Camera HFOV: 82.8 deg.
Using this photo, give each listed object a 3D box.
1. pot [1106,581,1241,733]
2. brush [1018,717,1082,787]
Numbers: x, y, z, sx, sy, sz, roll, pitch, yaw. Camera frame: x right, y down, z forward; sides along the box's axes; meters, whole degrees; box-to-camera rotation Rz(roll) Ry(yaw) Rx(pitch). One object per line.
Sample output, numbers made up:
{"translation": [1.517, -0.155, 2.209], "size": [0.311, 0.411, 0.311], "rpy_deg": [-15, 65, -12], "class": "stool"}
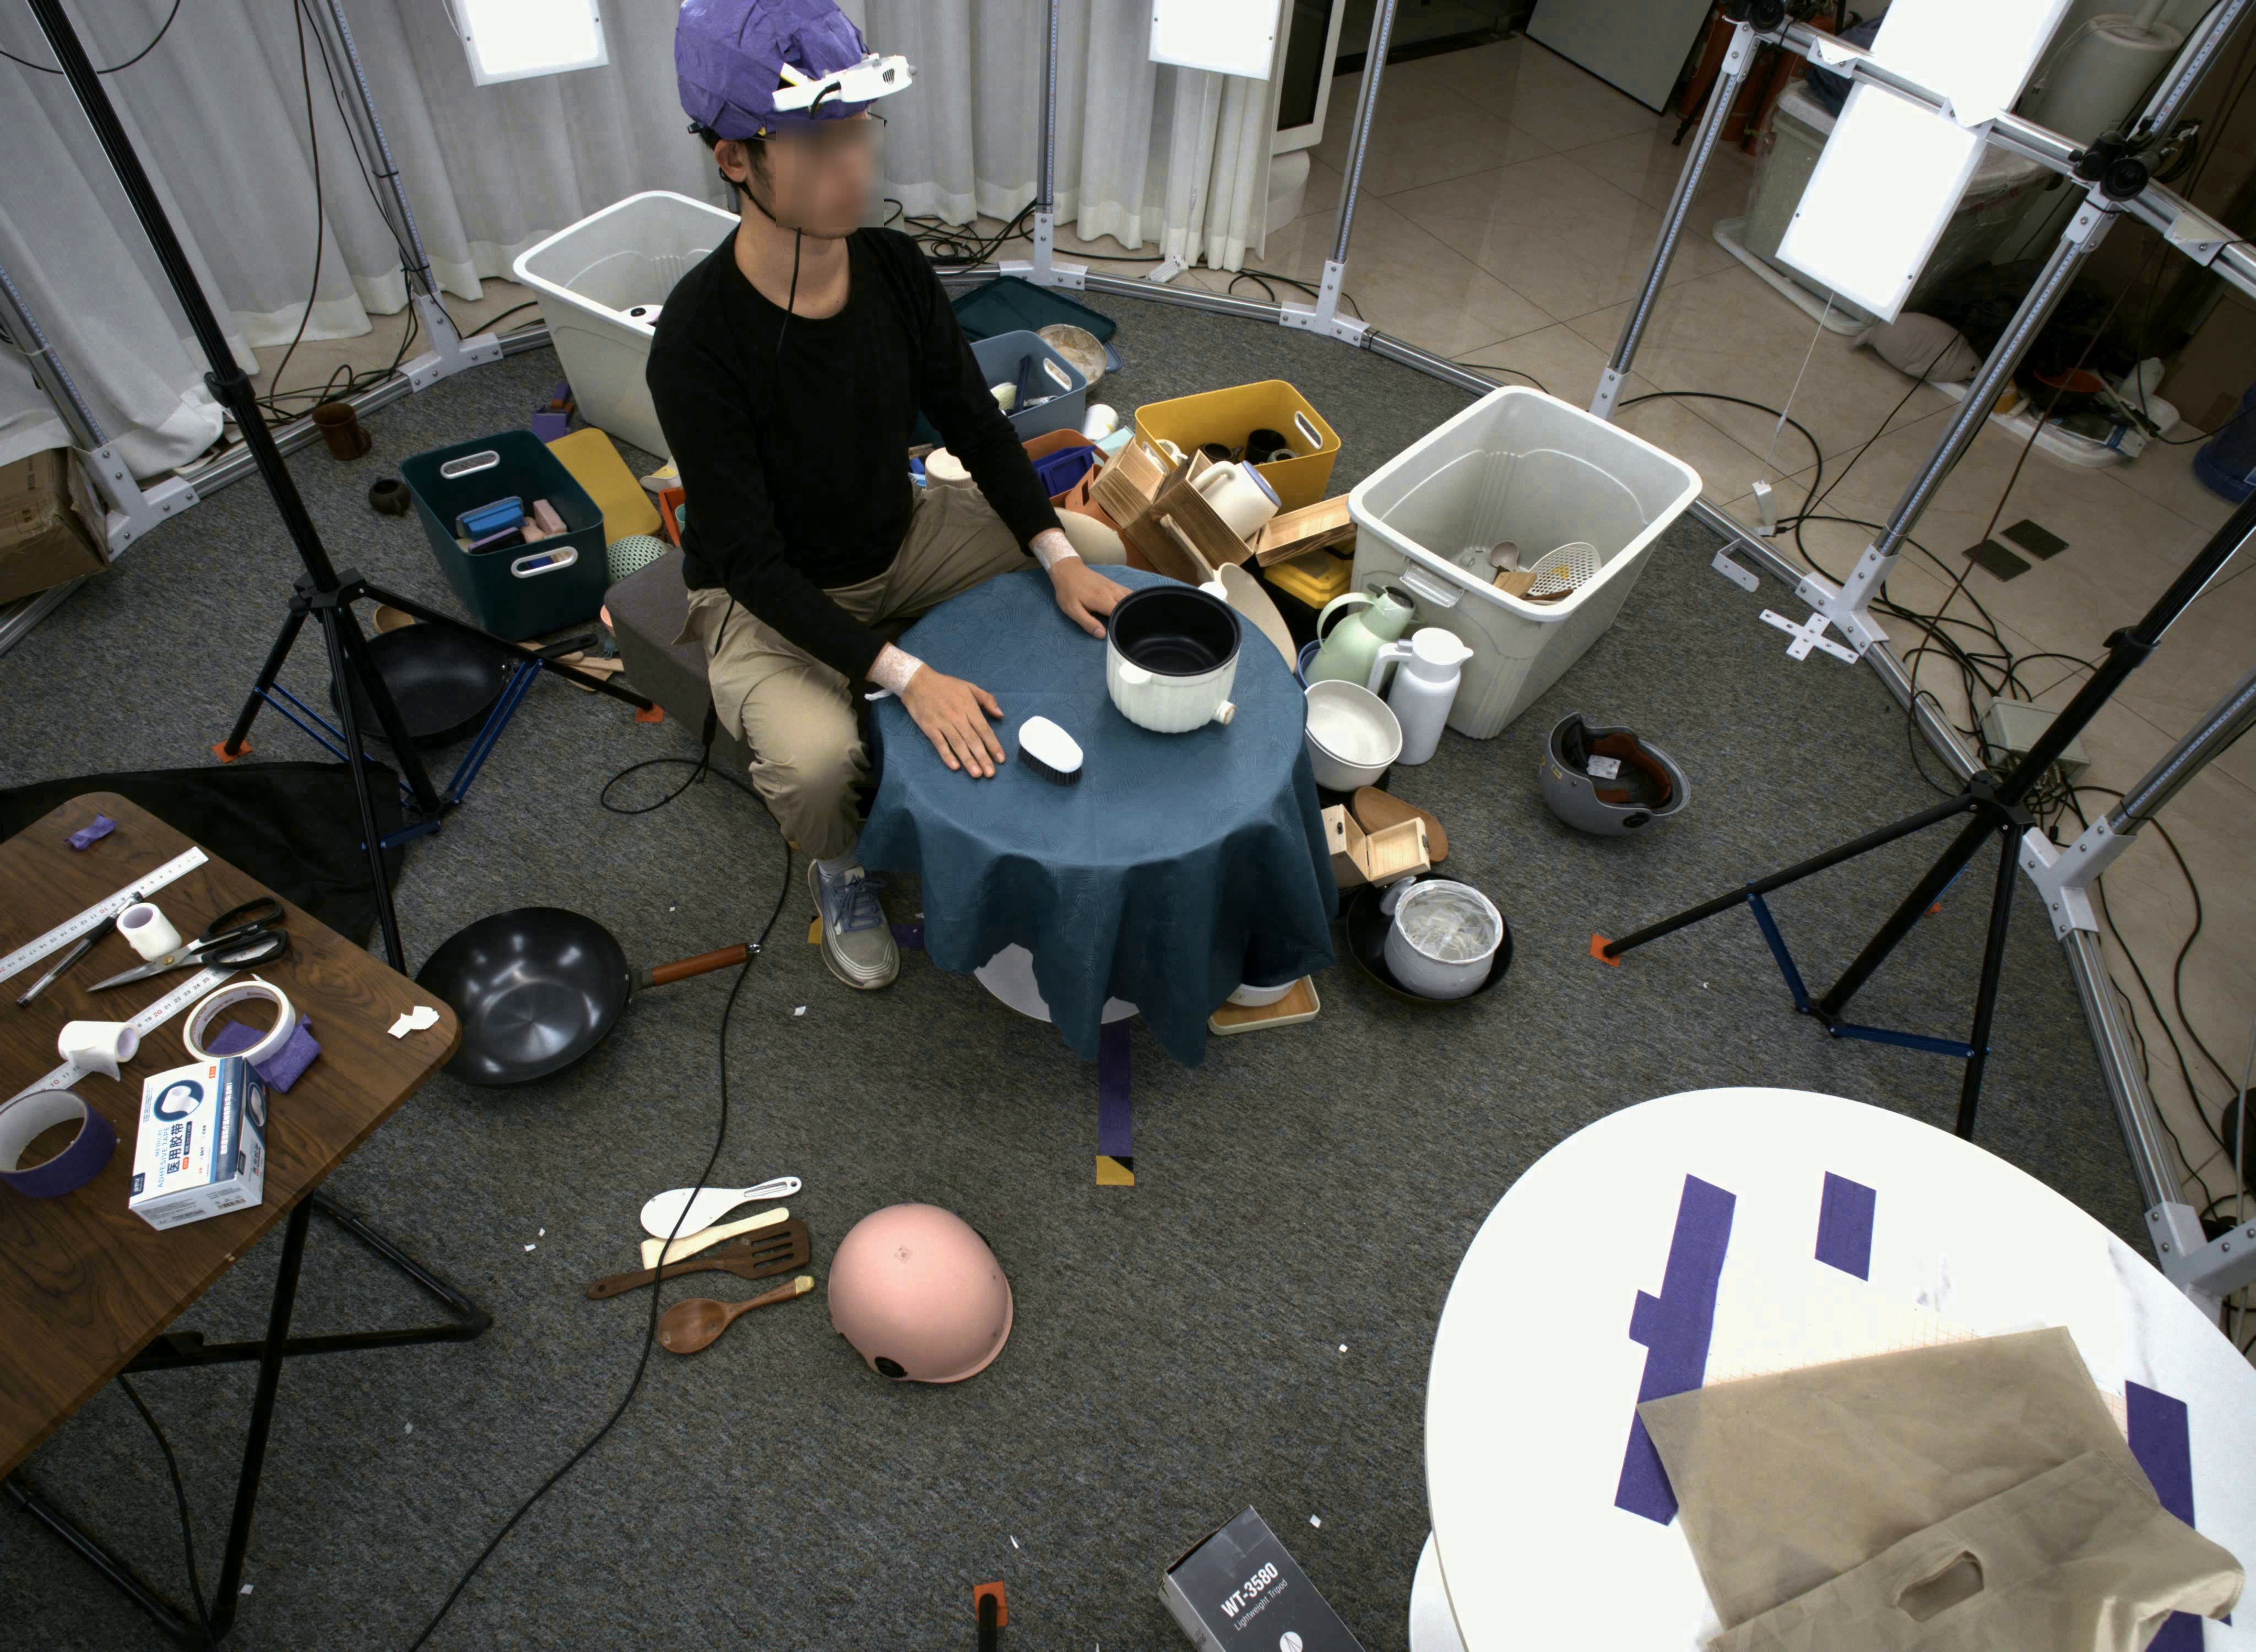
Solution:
{"translation": [0.064, -0.224, 1.779], "size": [0.192, 0.139, 0.244], "rpy_deg": [26, 53, 20], "class": "pot"}
{"translation": [-0.104, -0.107, 1.708], "size": [0.100, 0.071, 0.051], "rpy_deg": [35, 55, 23], "class": "brush"}
